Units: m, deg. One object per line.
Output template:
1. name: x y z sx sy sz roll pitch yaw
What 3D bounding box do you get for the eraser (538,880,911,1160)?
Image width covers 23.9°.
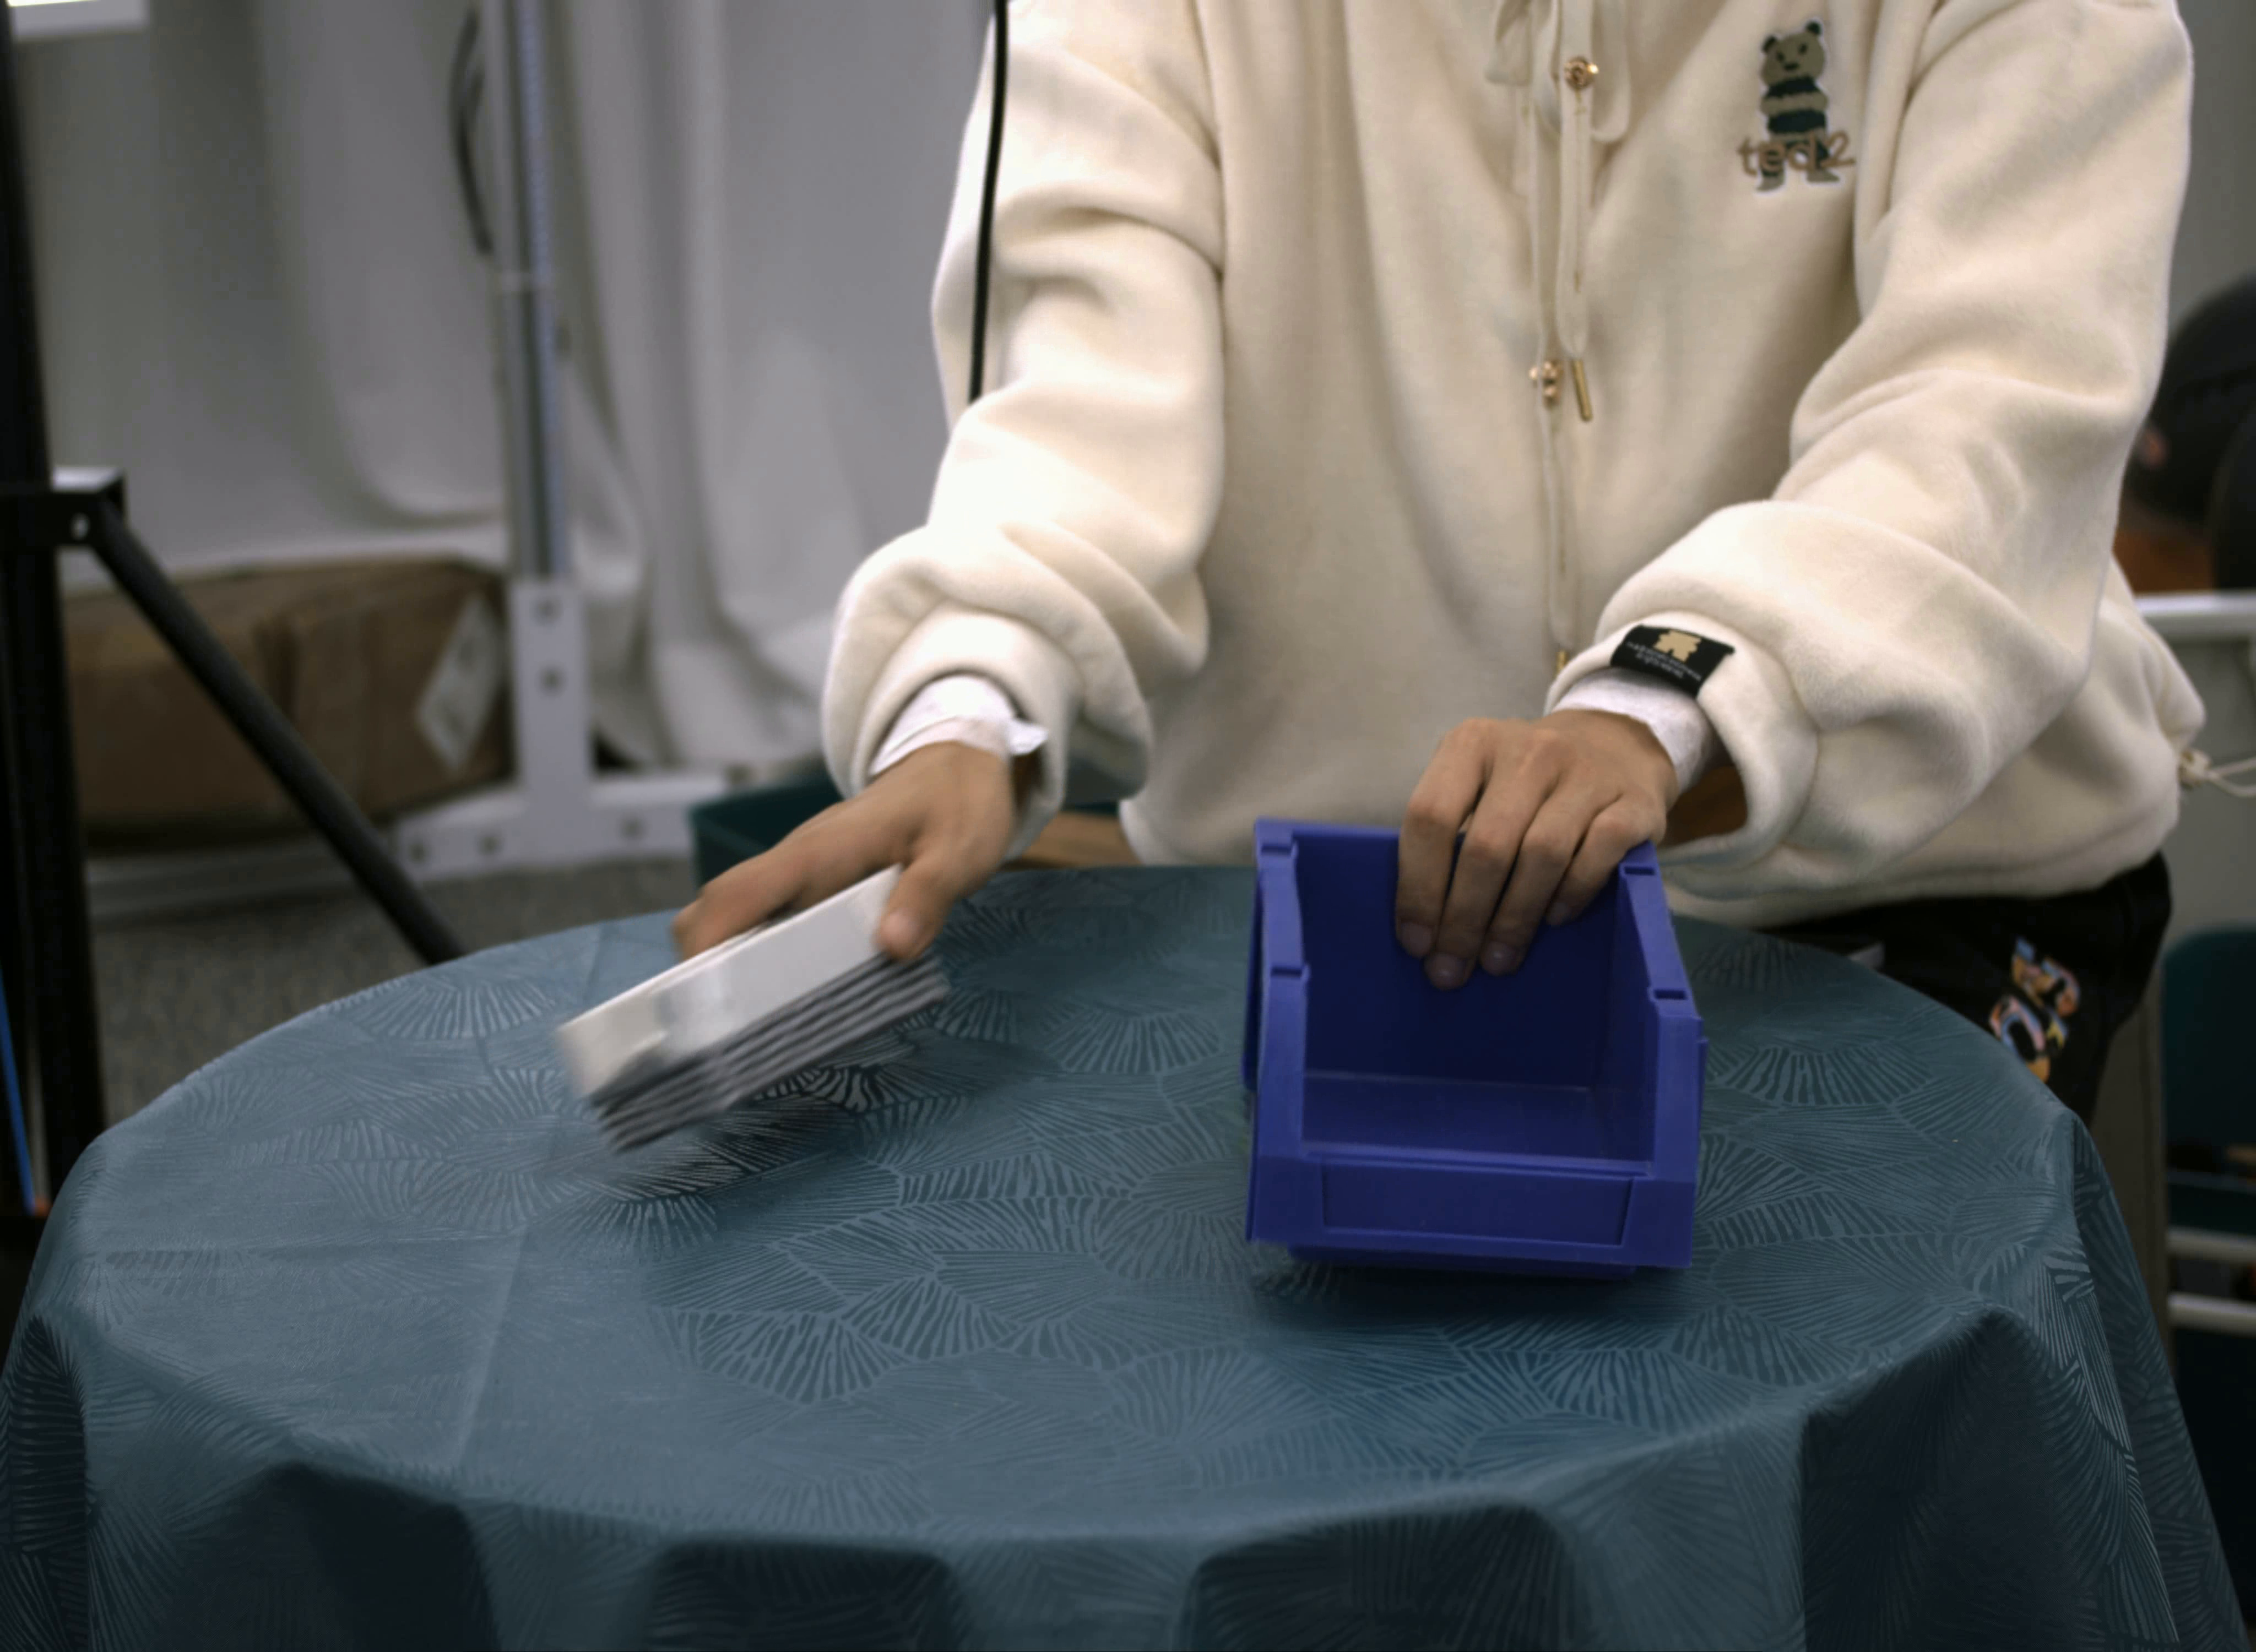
1. eraser: -0.119 0.058 1.617 0.050 0.046 0.132 -23 4 30

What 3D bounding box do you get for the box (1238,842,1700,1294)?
1. box: 0.096 0.071 1.500 0.124 0.082 0.180 3 16 2
